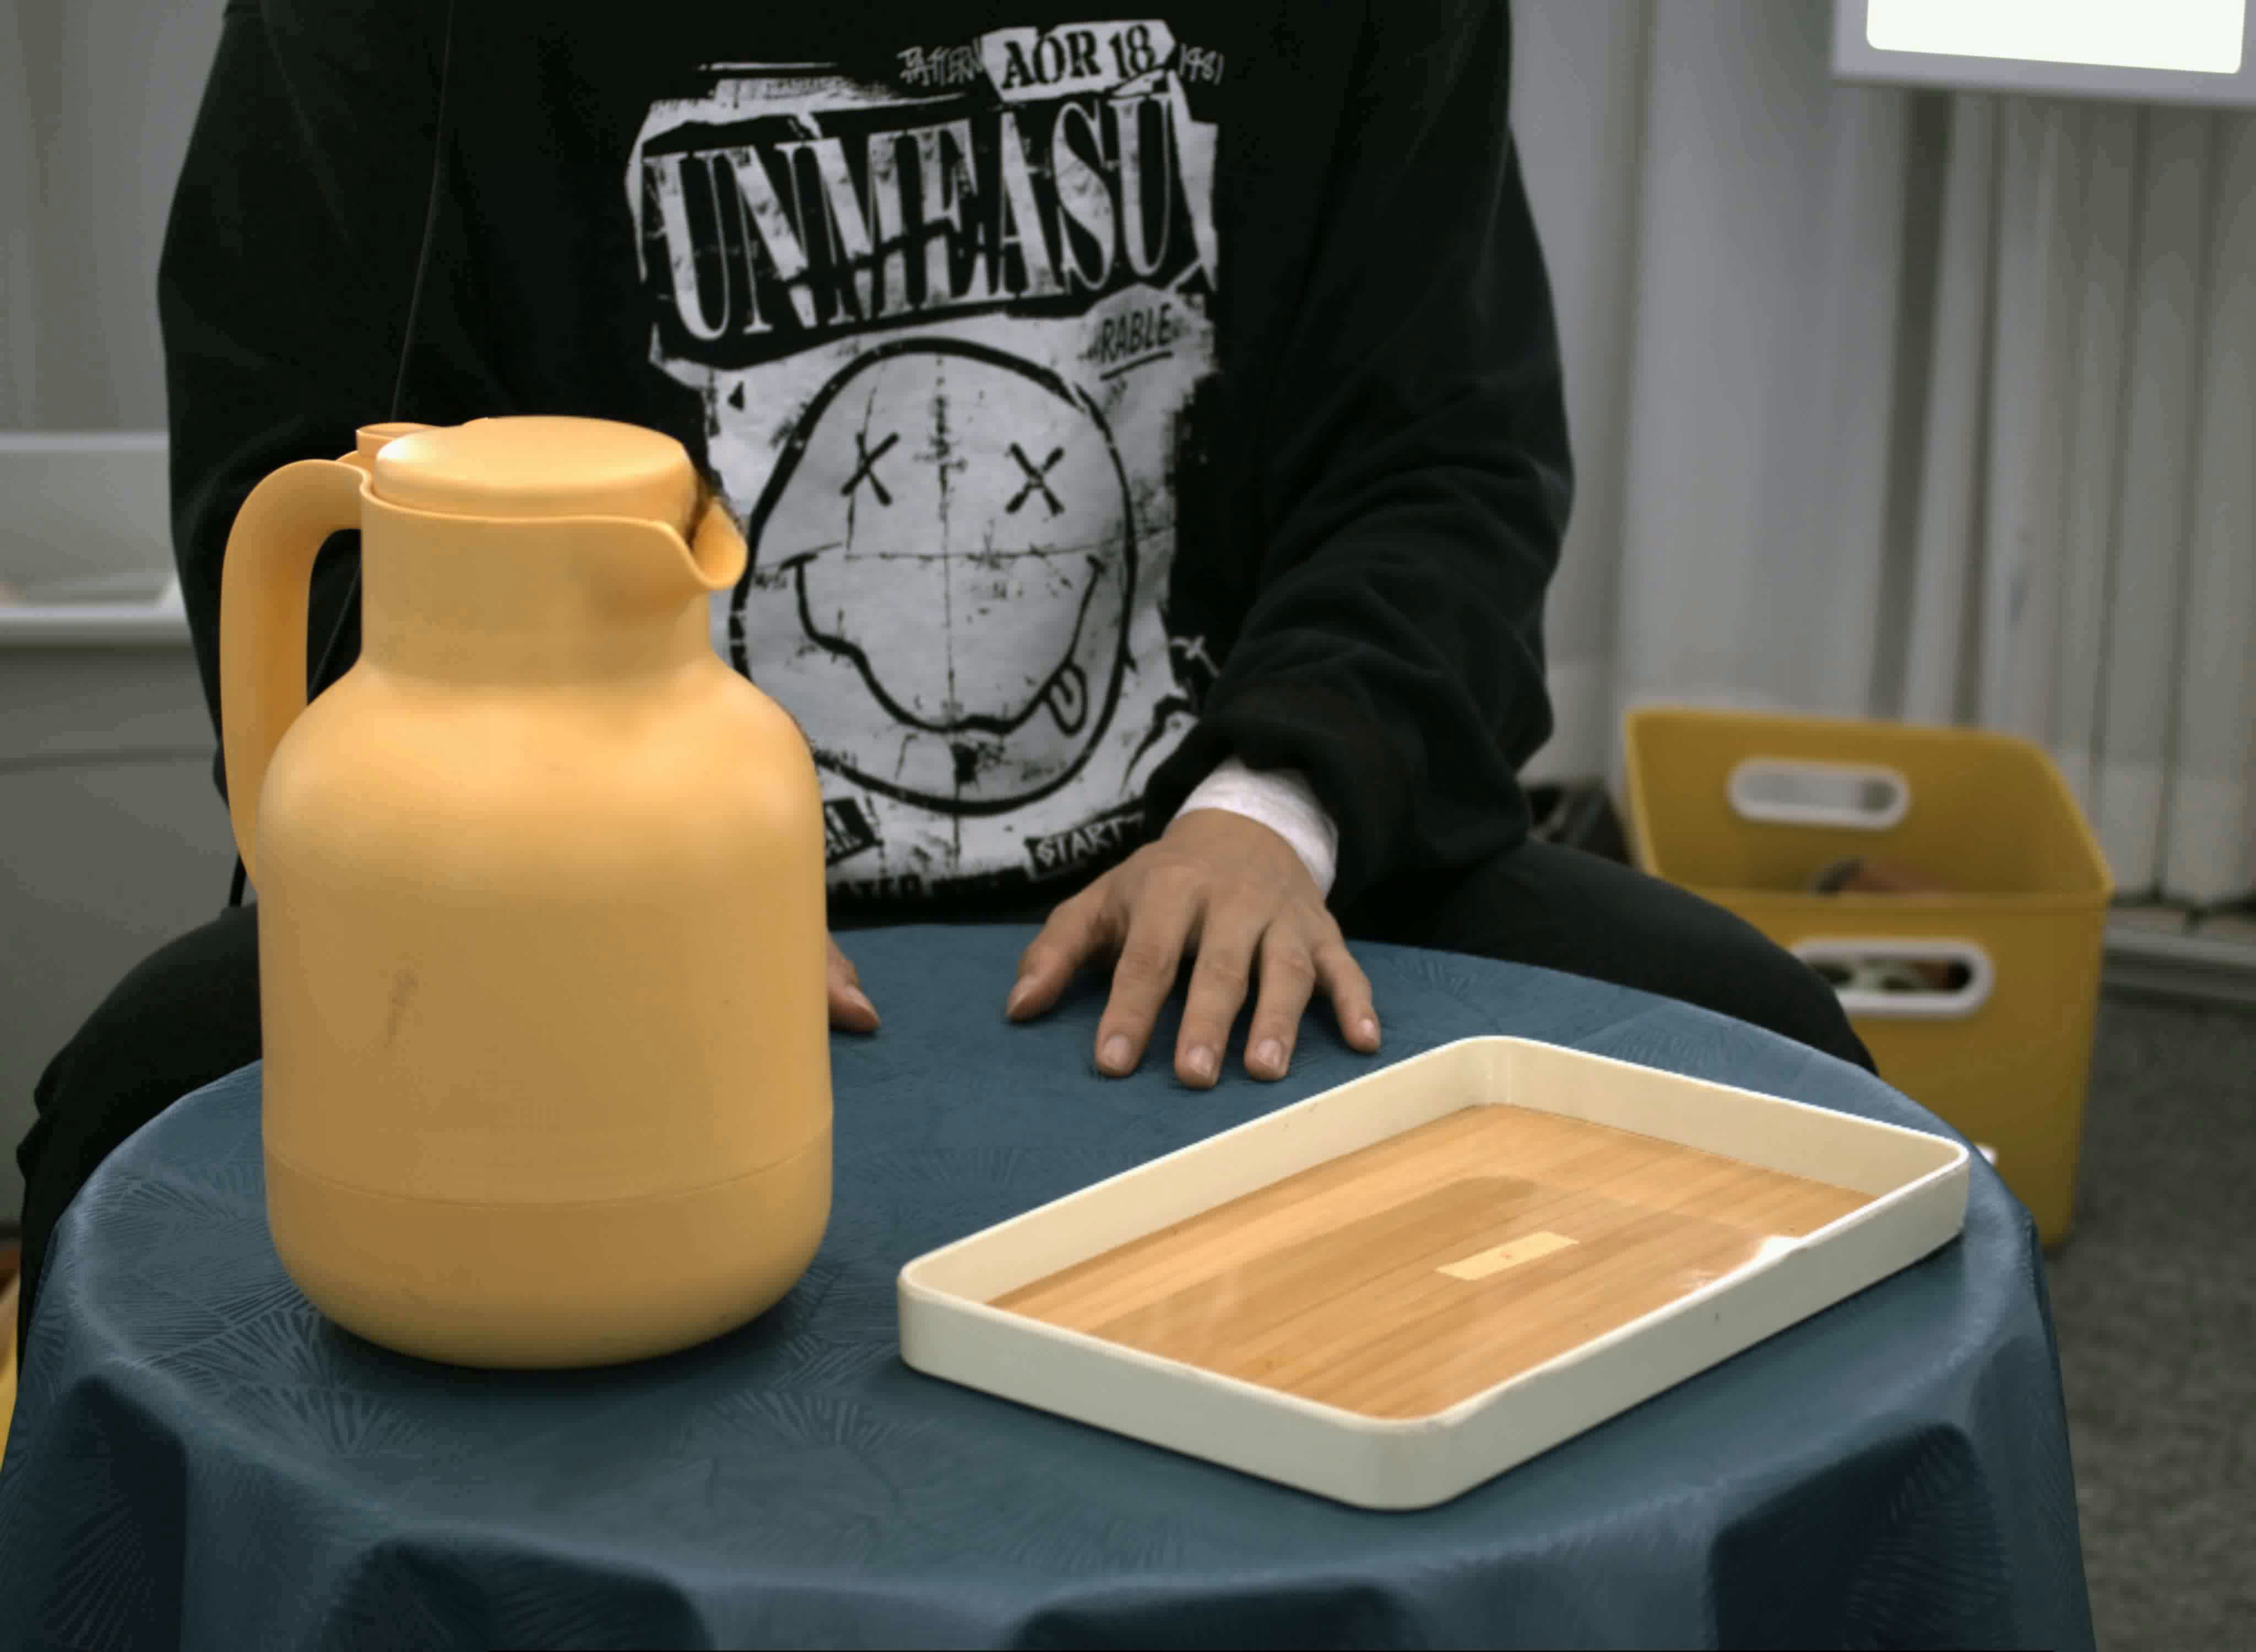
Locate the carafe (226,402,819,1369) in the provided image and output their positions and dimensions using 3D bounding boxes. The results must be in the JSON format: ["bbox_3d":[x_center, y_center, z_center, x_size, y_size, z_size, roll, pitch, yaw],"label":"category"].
[{"bbox_3d":[-0.181,0.008,1.499,0.199,0.262,0.164,16,20,39],"label":"carafe"}]

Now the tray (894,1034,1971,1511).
[{"bbox_3d":[0.094,0.124,1.534,0.189,0.027,0.301,13,20,37],"label":"tray"}]
